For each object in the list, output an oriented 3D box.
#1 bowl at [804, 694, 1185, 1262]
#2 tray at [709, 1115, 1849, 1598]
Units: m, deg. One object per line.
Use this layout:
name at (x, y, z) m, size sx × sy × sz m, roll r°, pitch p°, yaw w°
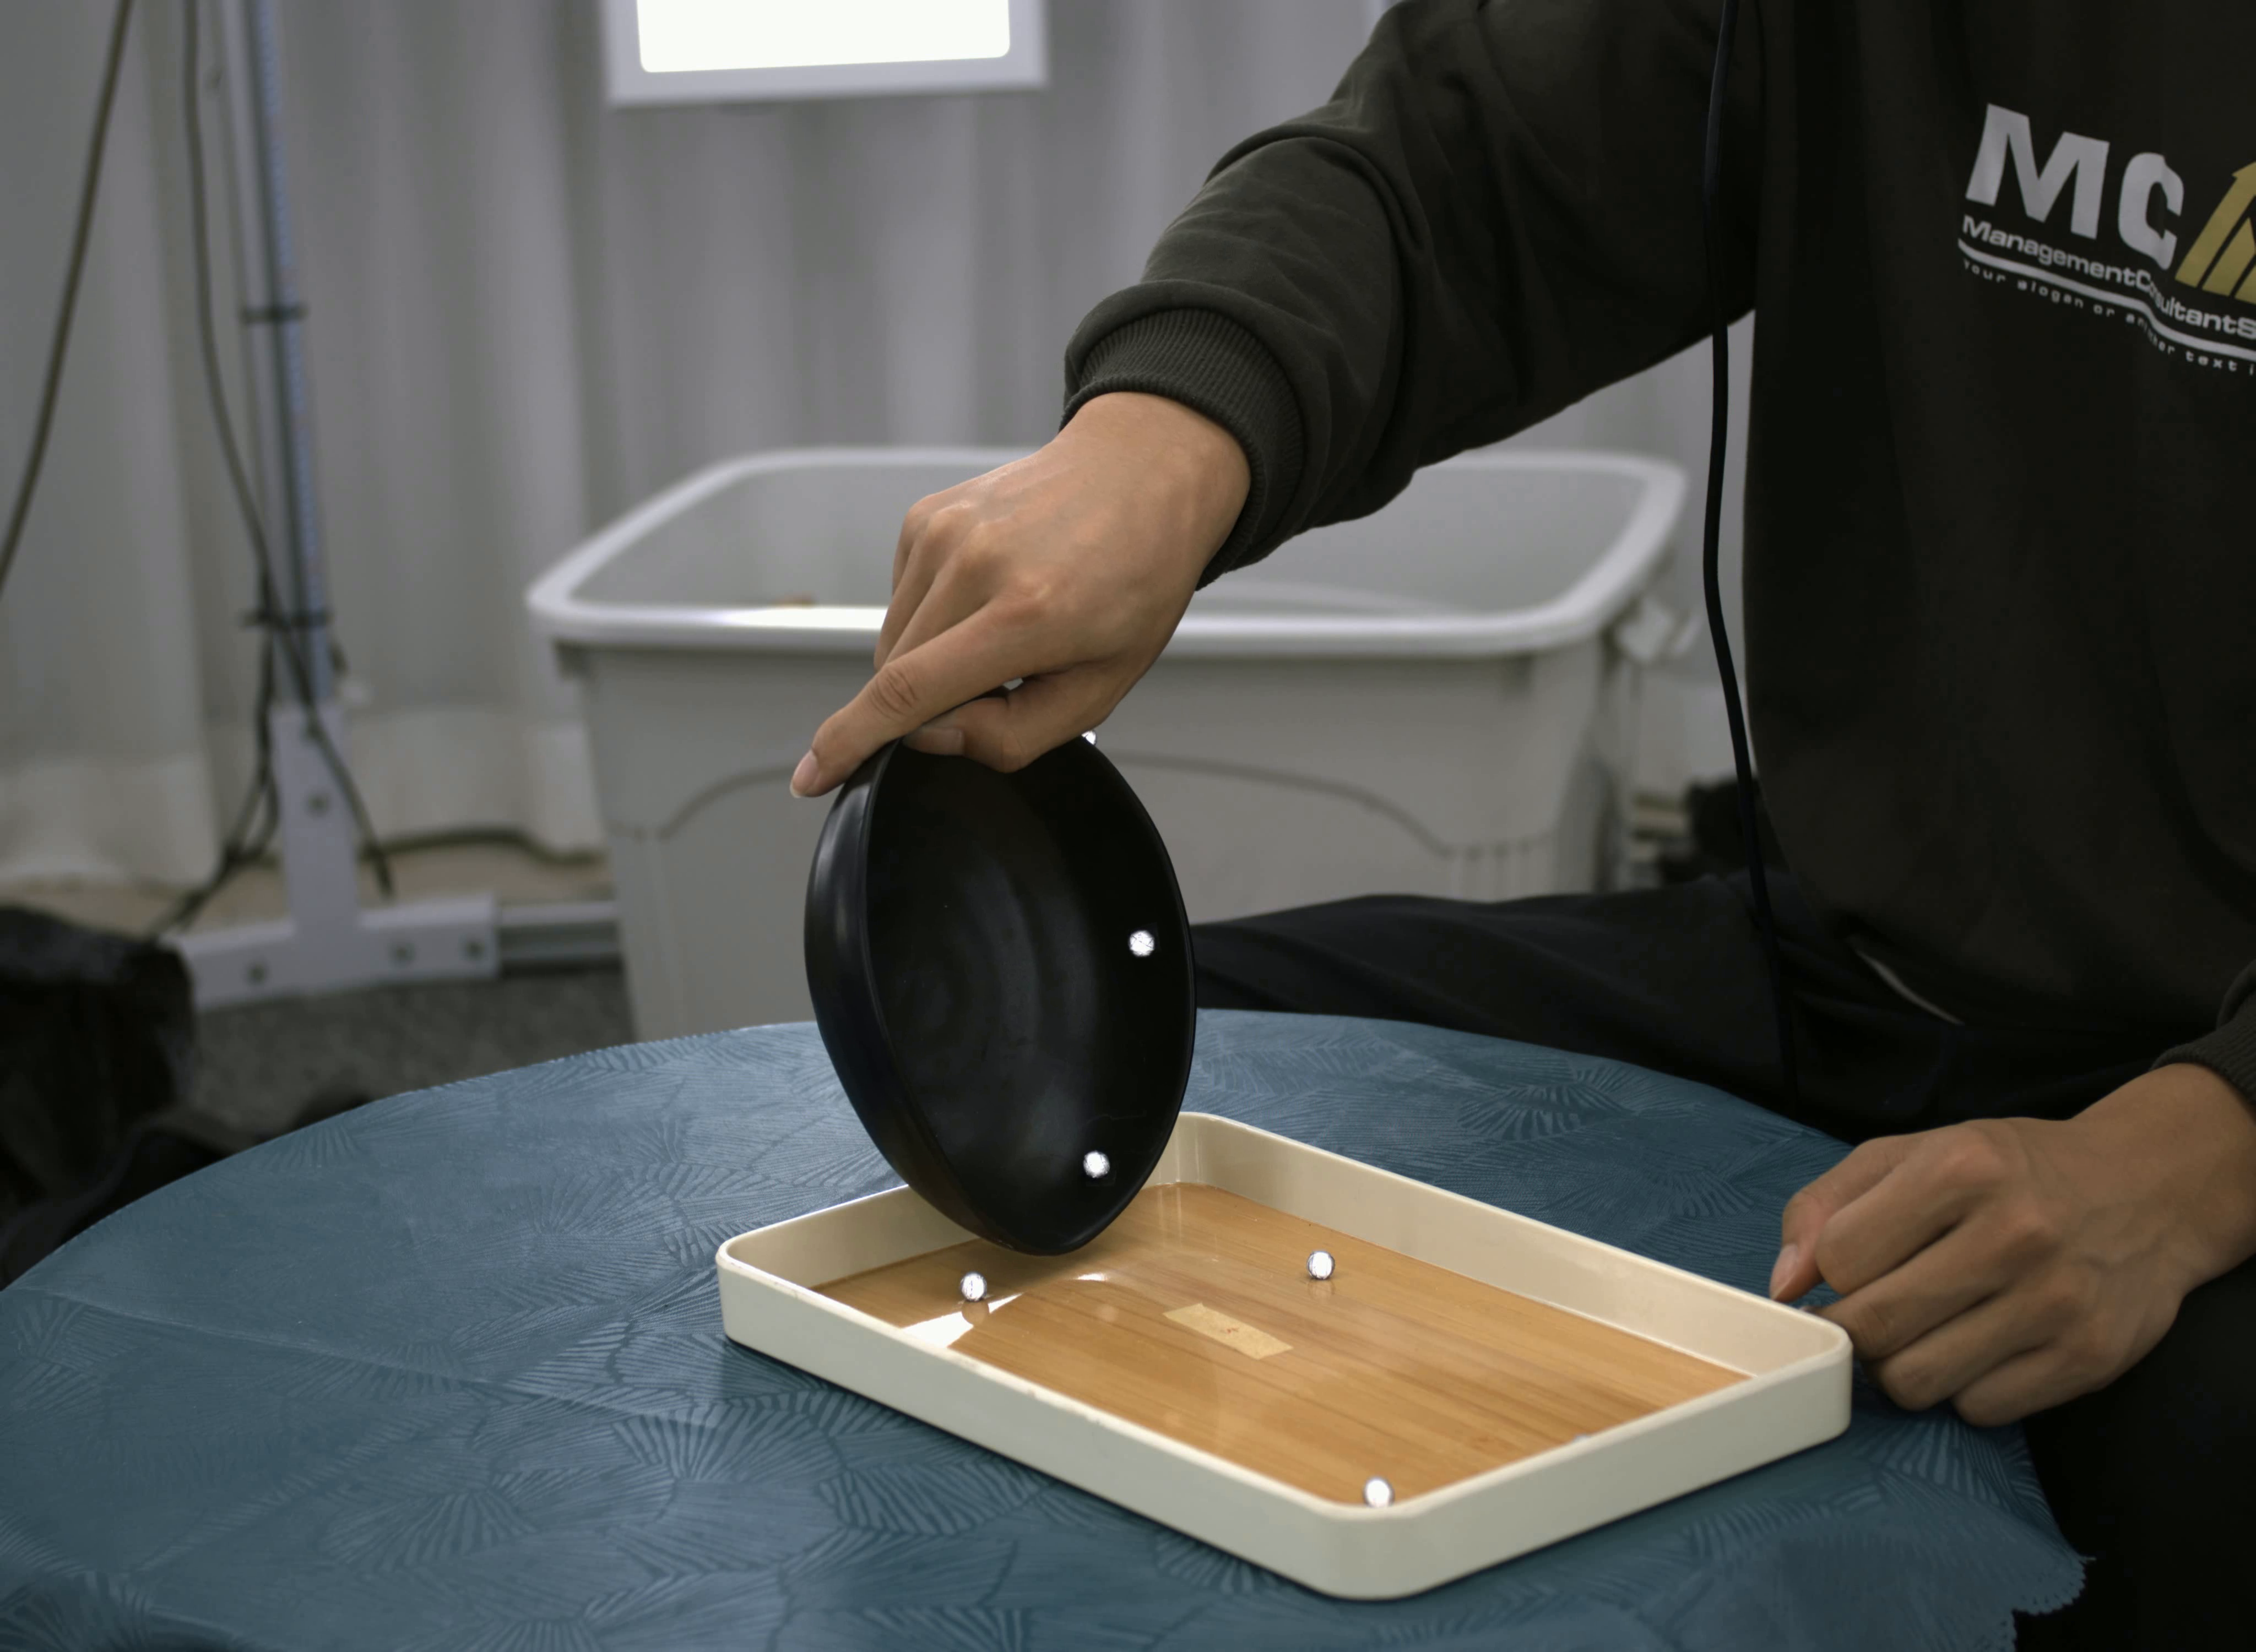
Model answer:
bowl at (-0.049, 0.046, 1.641) m, size 0.067 × 0.170 × 0.137 m, roll -8°, pitch 11°, yaw 44°
tray at (0.037, 0.144, 1.550) m, size 0.191 × 0.027 × 0.302 m, roll -14°, pitch 18°, yaw -37°
